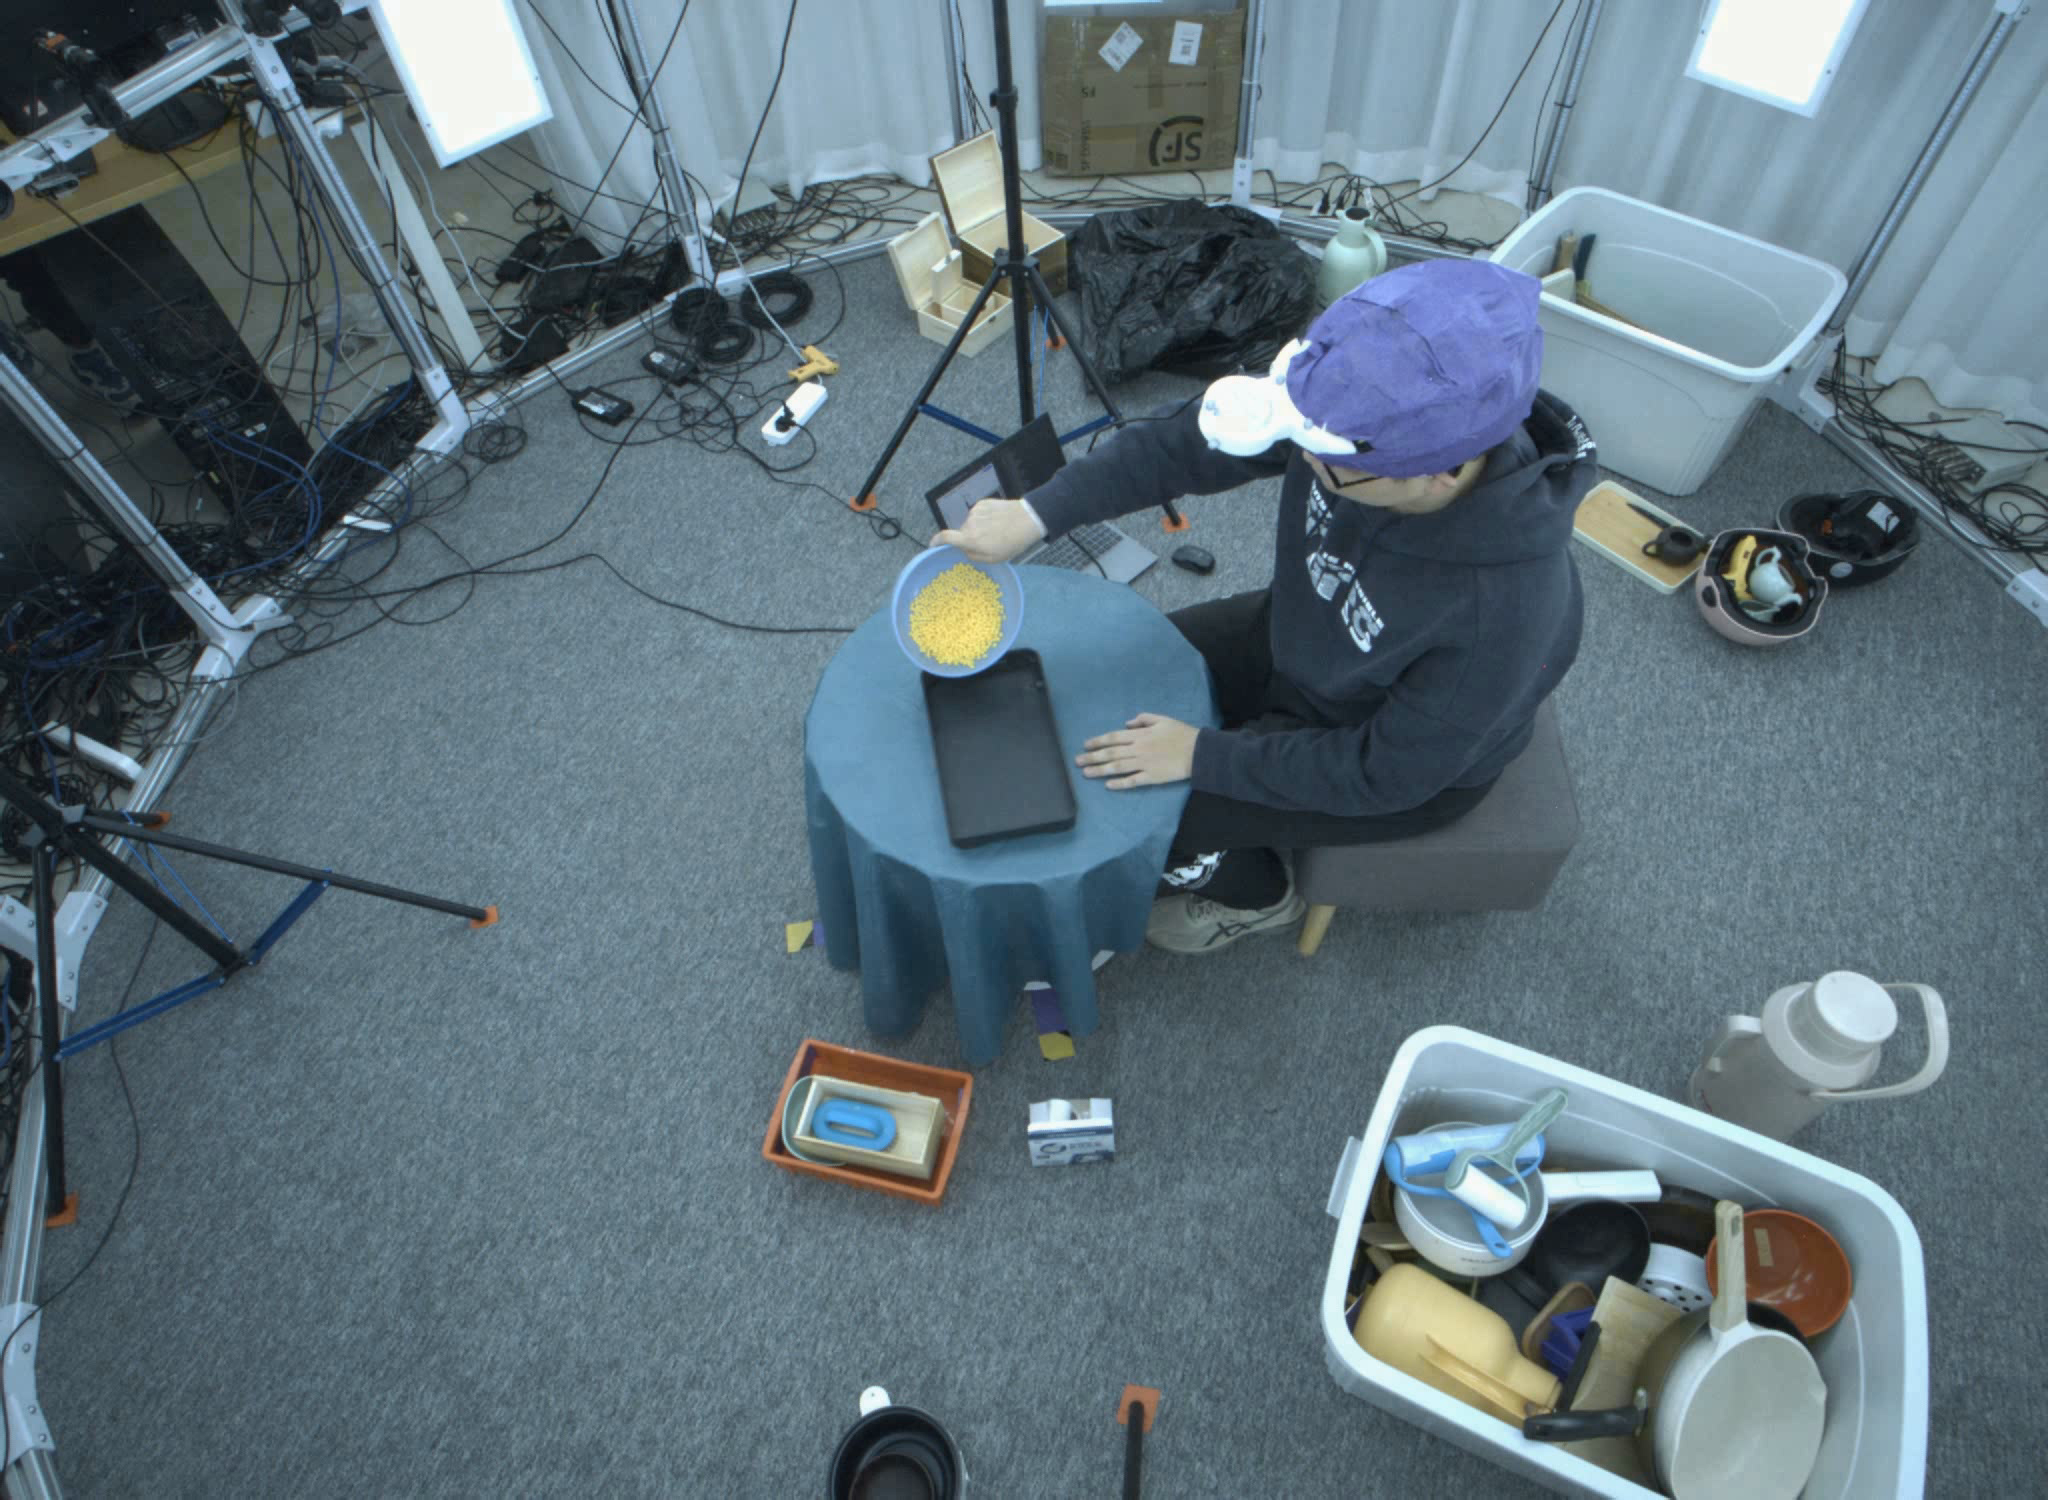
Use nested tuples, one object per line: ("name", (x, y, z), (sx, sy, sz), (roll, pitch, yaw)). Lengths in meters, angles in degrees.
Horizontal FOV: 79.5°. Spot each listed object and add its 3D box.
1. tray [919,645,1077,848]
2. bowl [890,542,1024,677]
("tray", (-0.041, -0.011, 1.773), (0.185, 0.037, 0.313), (-9, 55, -5))
("bowl", (-0.108, -0.213, 1.767), (0.198, 0.199, 0.093), (-22, 28, -13))
